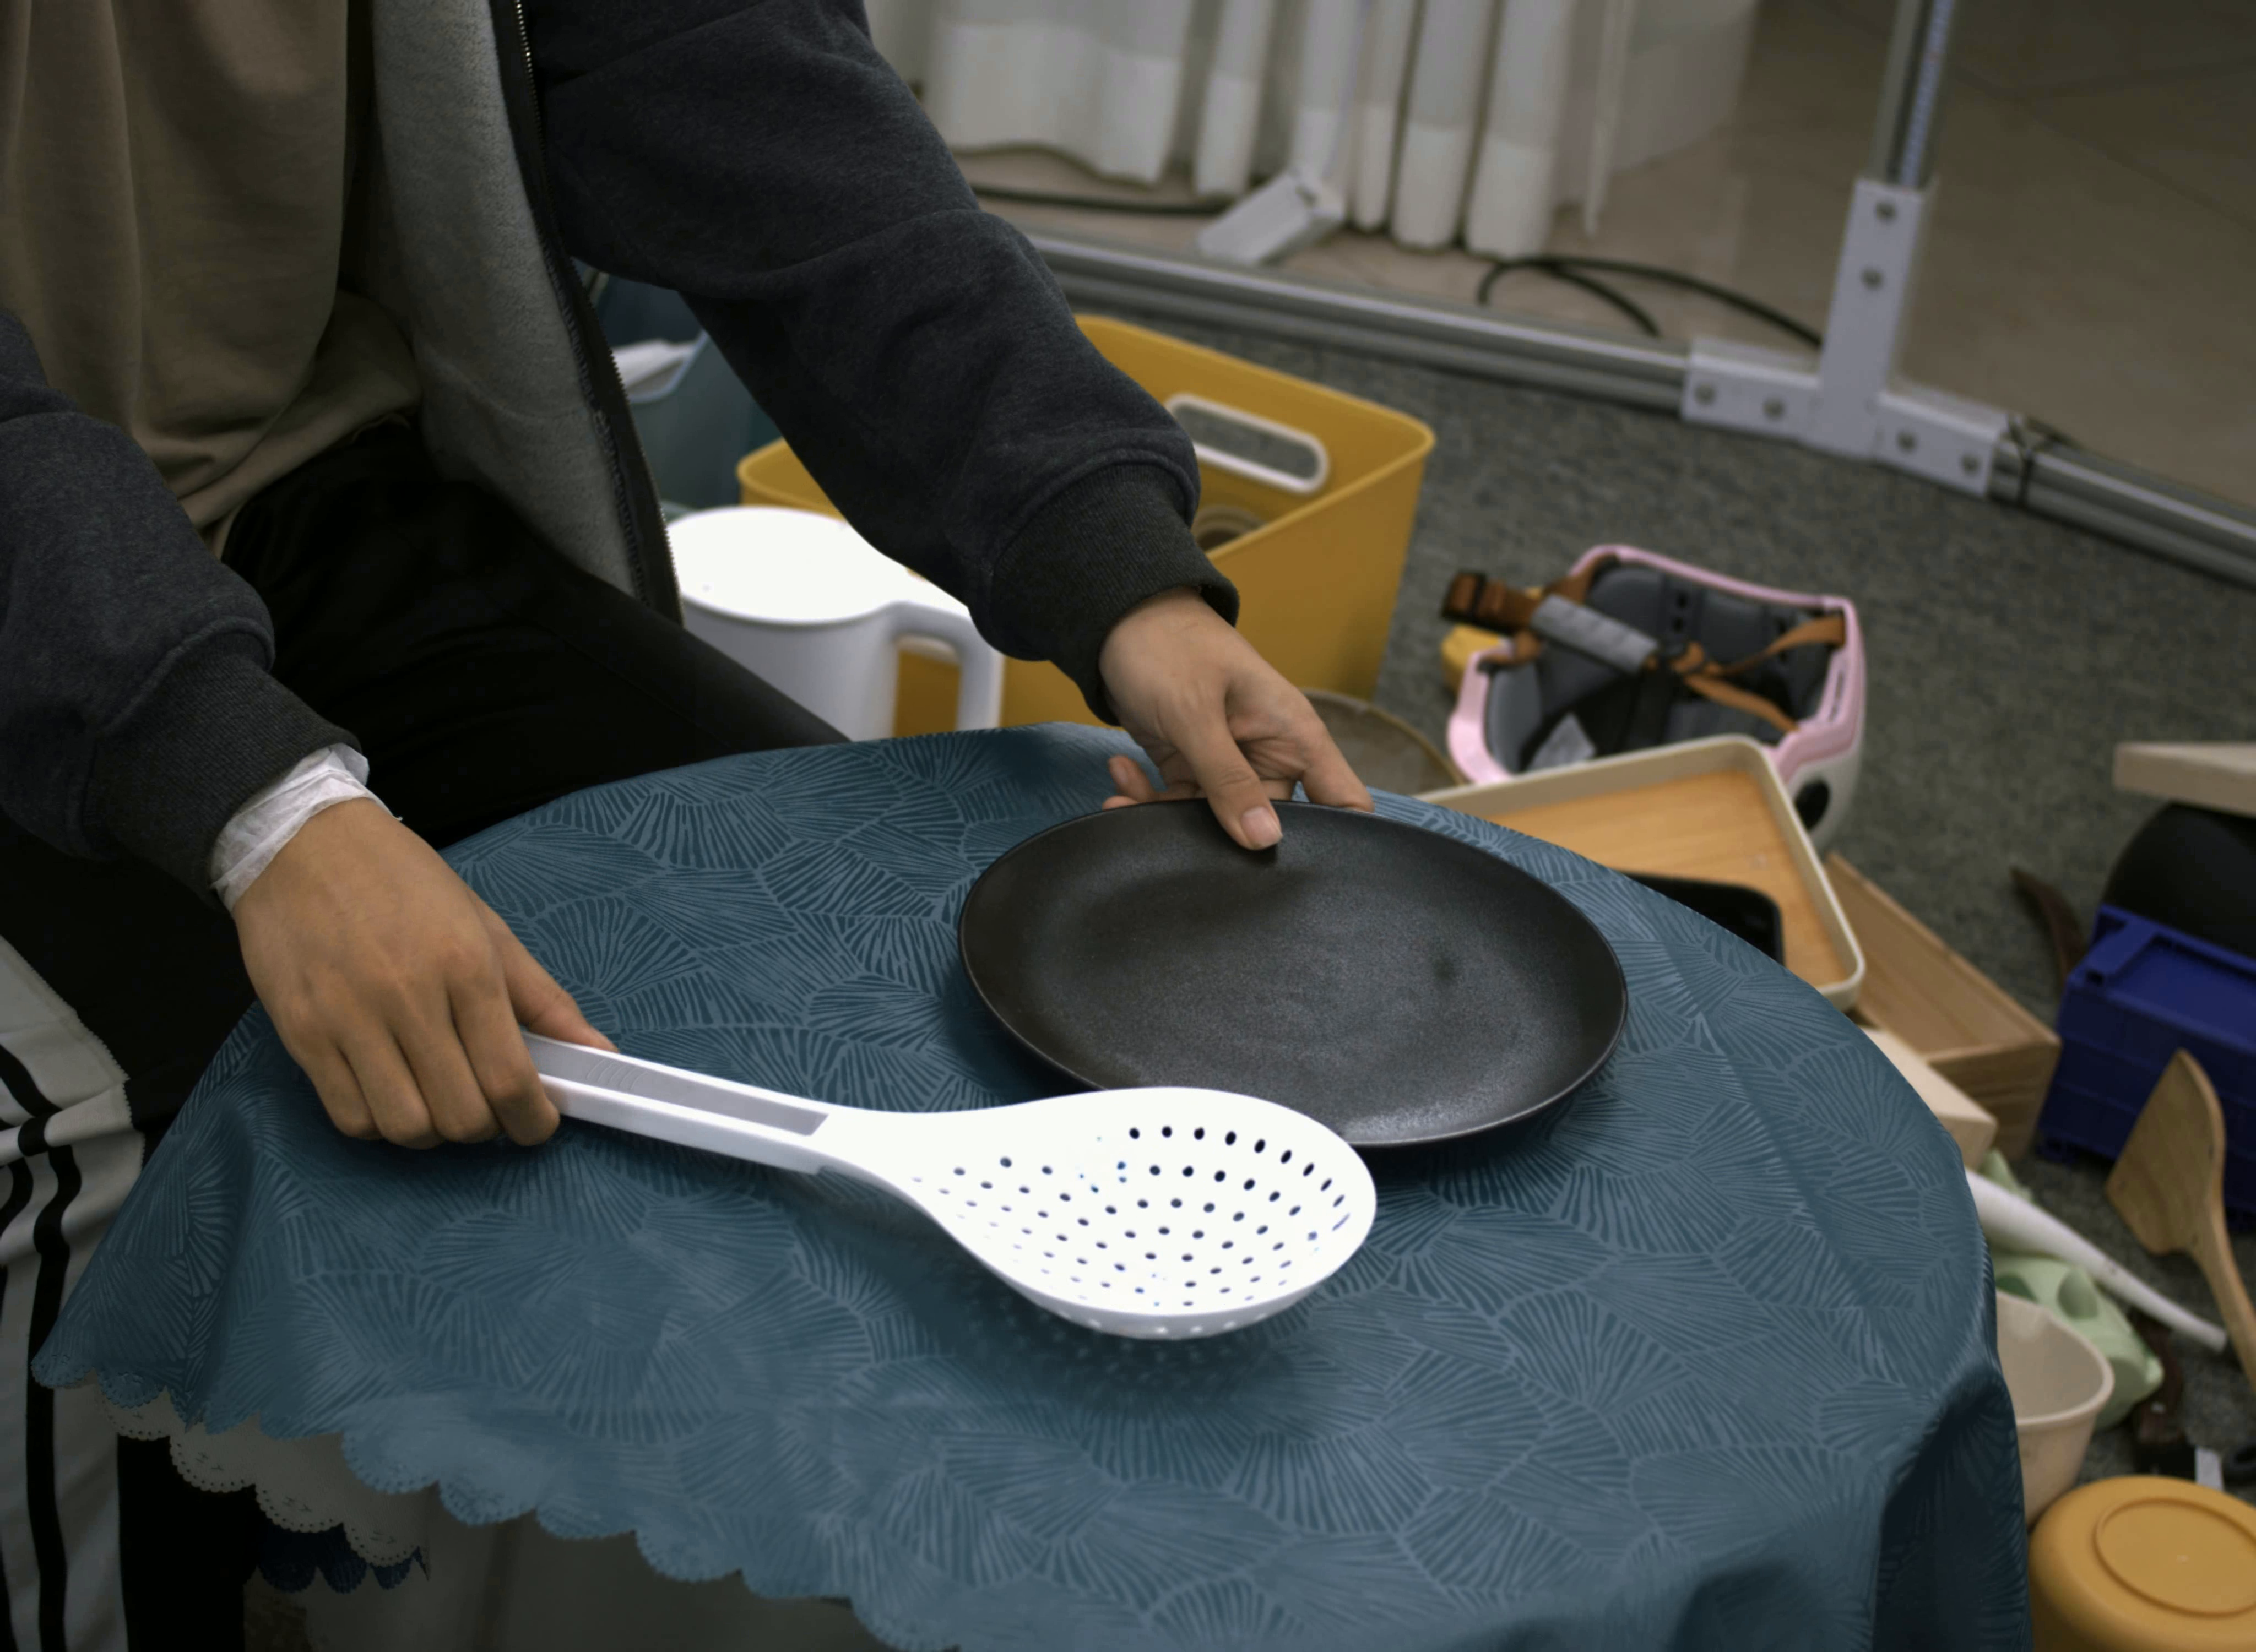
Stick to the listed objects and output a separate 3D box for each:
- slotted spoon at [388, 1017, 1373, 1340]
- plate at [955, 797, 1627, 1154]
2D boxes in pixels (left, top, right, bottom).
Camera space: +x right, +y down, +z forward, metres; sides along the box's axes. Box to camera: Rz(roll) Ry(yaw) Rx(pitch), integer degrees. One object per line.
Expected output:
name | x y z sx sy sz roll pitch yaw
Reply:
slotted spoon | -0.088 0.108 1.762 0.350 0.045 0.136 15 30 18
plate | 0.058 0.058 1.913 0.243 0.023 0.246 5 29 -3
